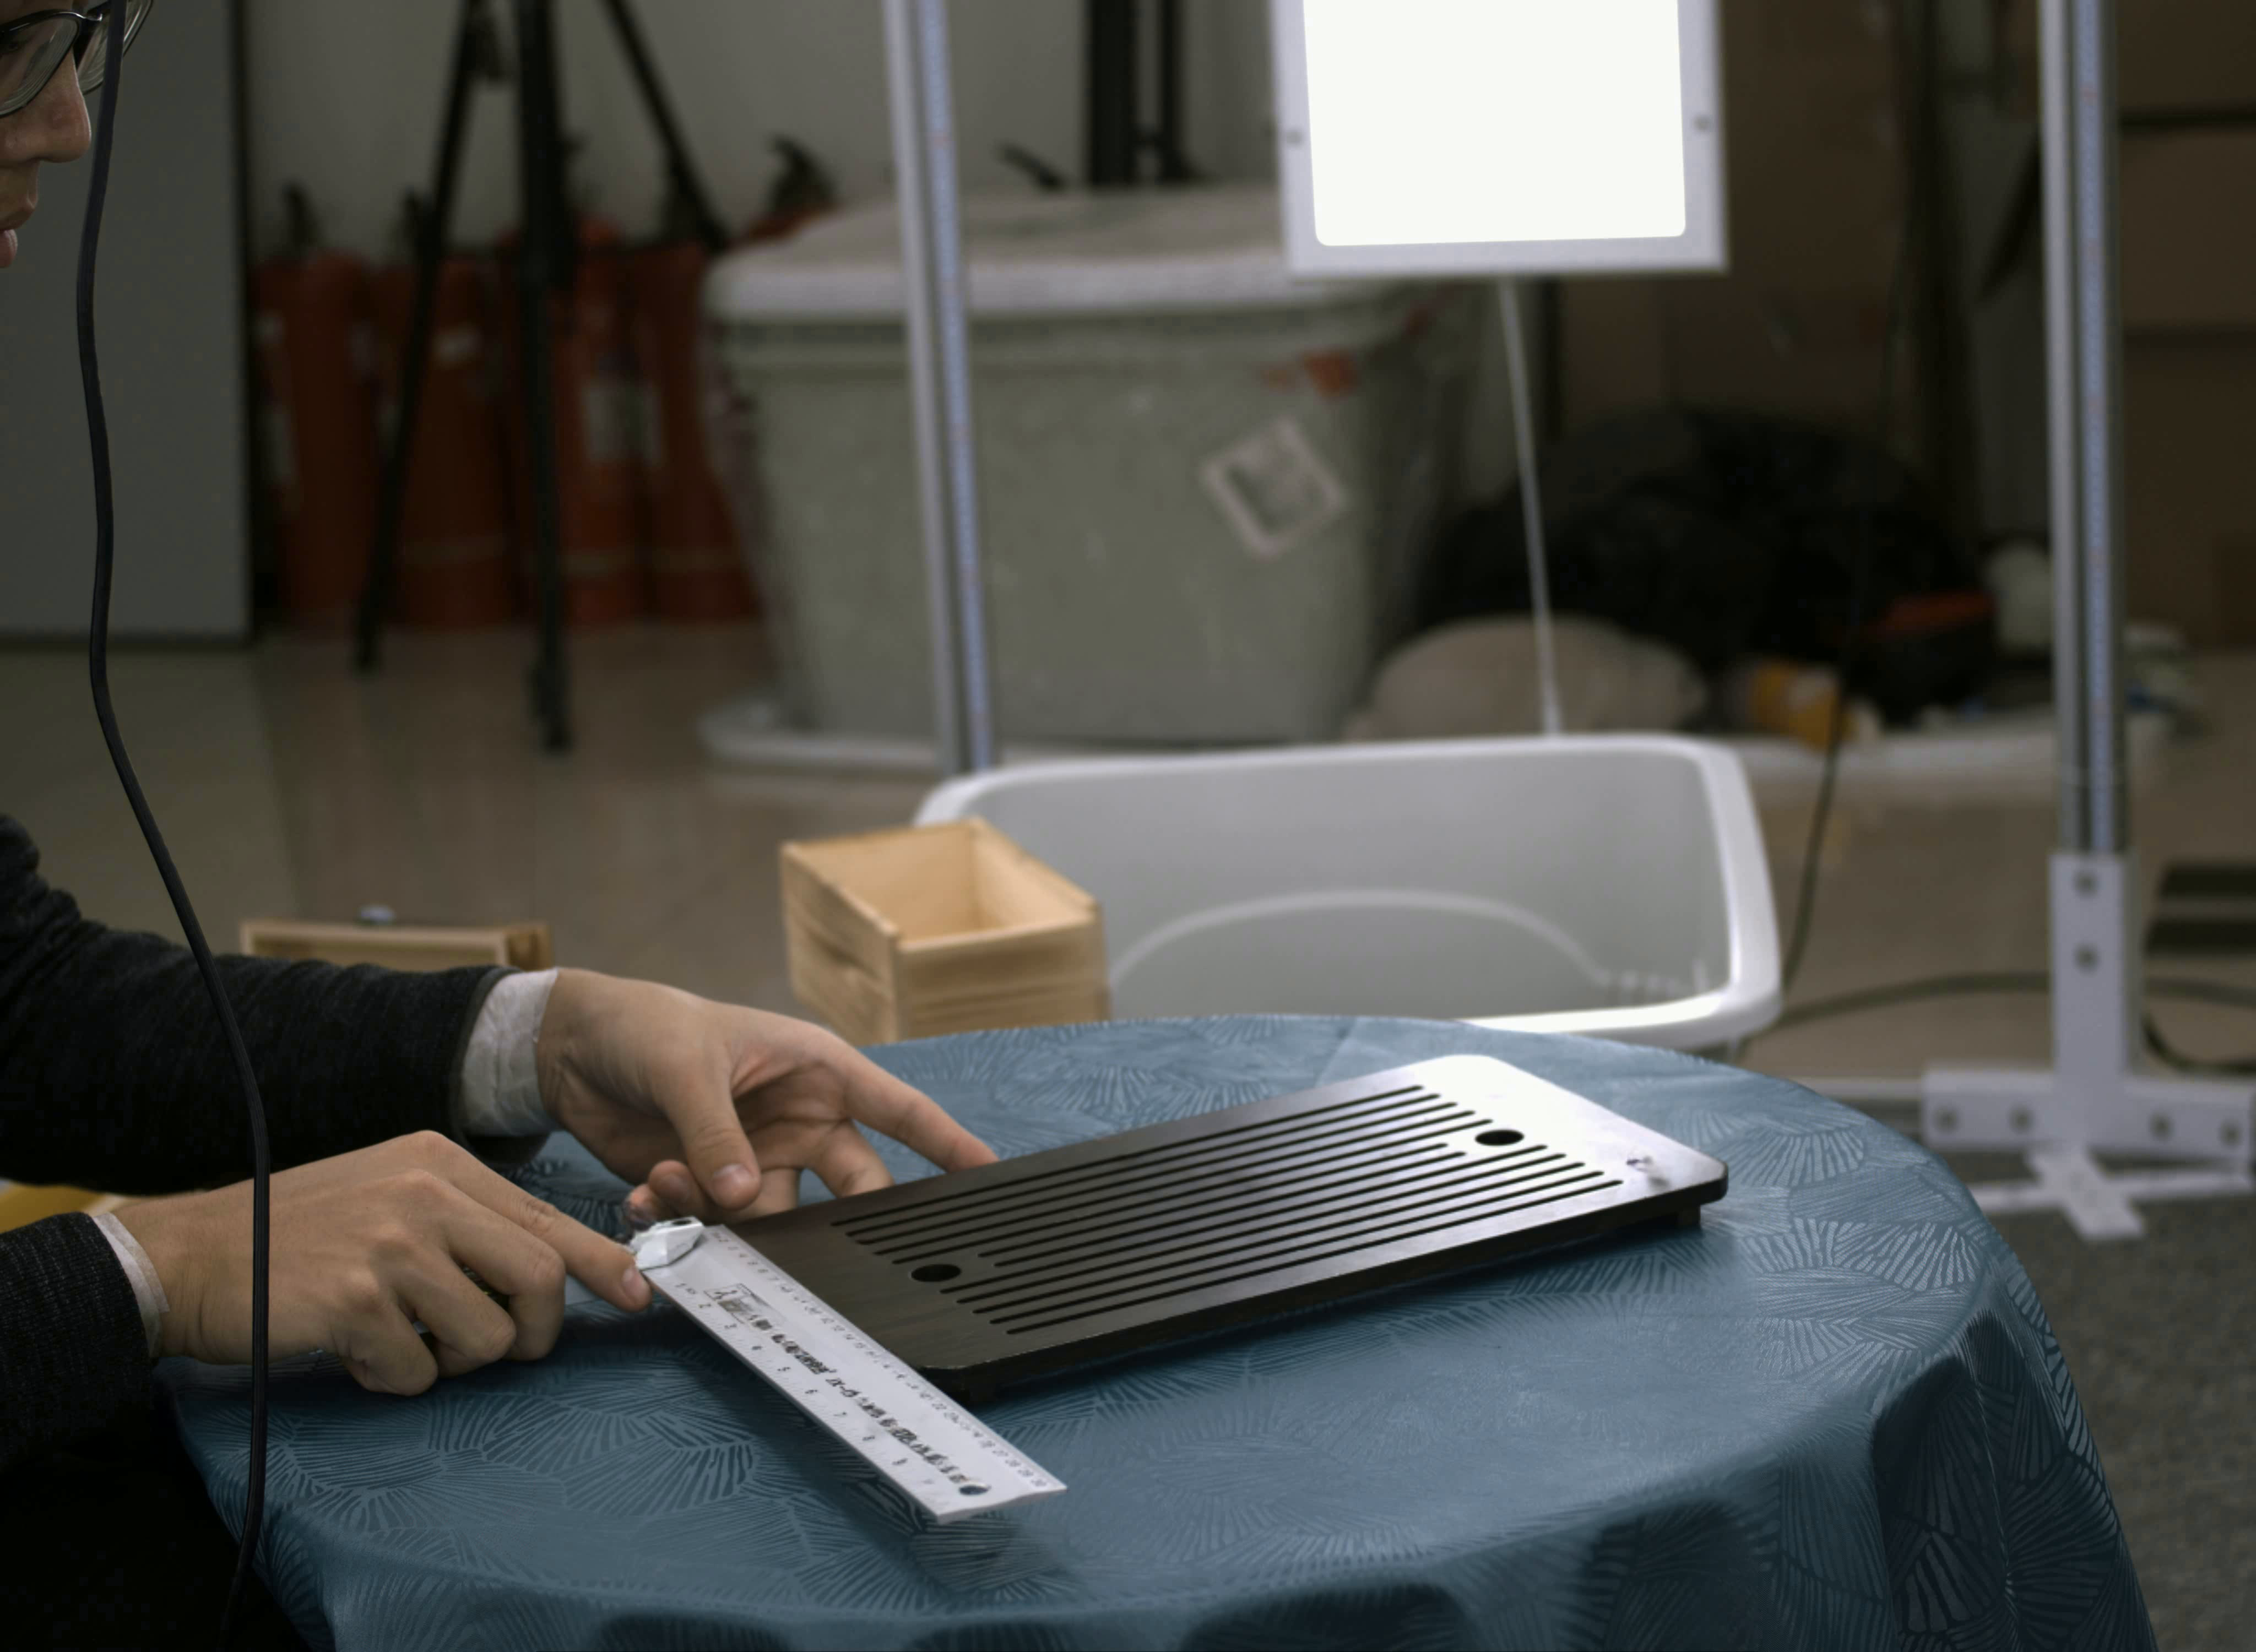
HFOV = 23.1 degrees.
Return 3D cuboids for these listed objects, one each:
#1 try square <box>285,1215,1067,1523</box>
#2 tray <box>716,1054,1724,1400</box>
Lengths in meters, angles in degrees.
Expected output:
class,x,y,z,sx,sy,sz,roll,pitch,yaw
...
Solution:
class,x,y,z,sx,sy,sz,roll,pitch,yaw
try square,-0.145,0.173,1.669,0.149,0.016,0.317,-12,14,-19
tray,0.031,0.131,1.823,0.299,0.019,0.173,-12,17,-25
